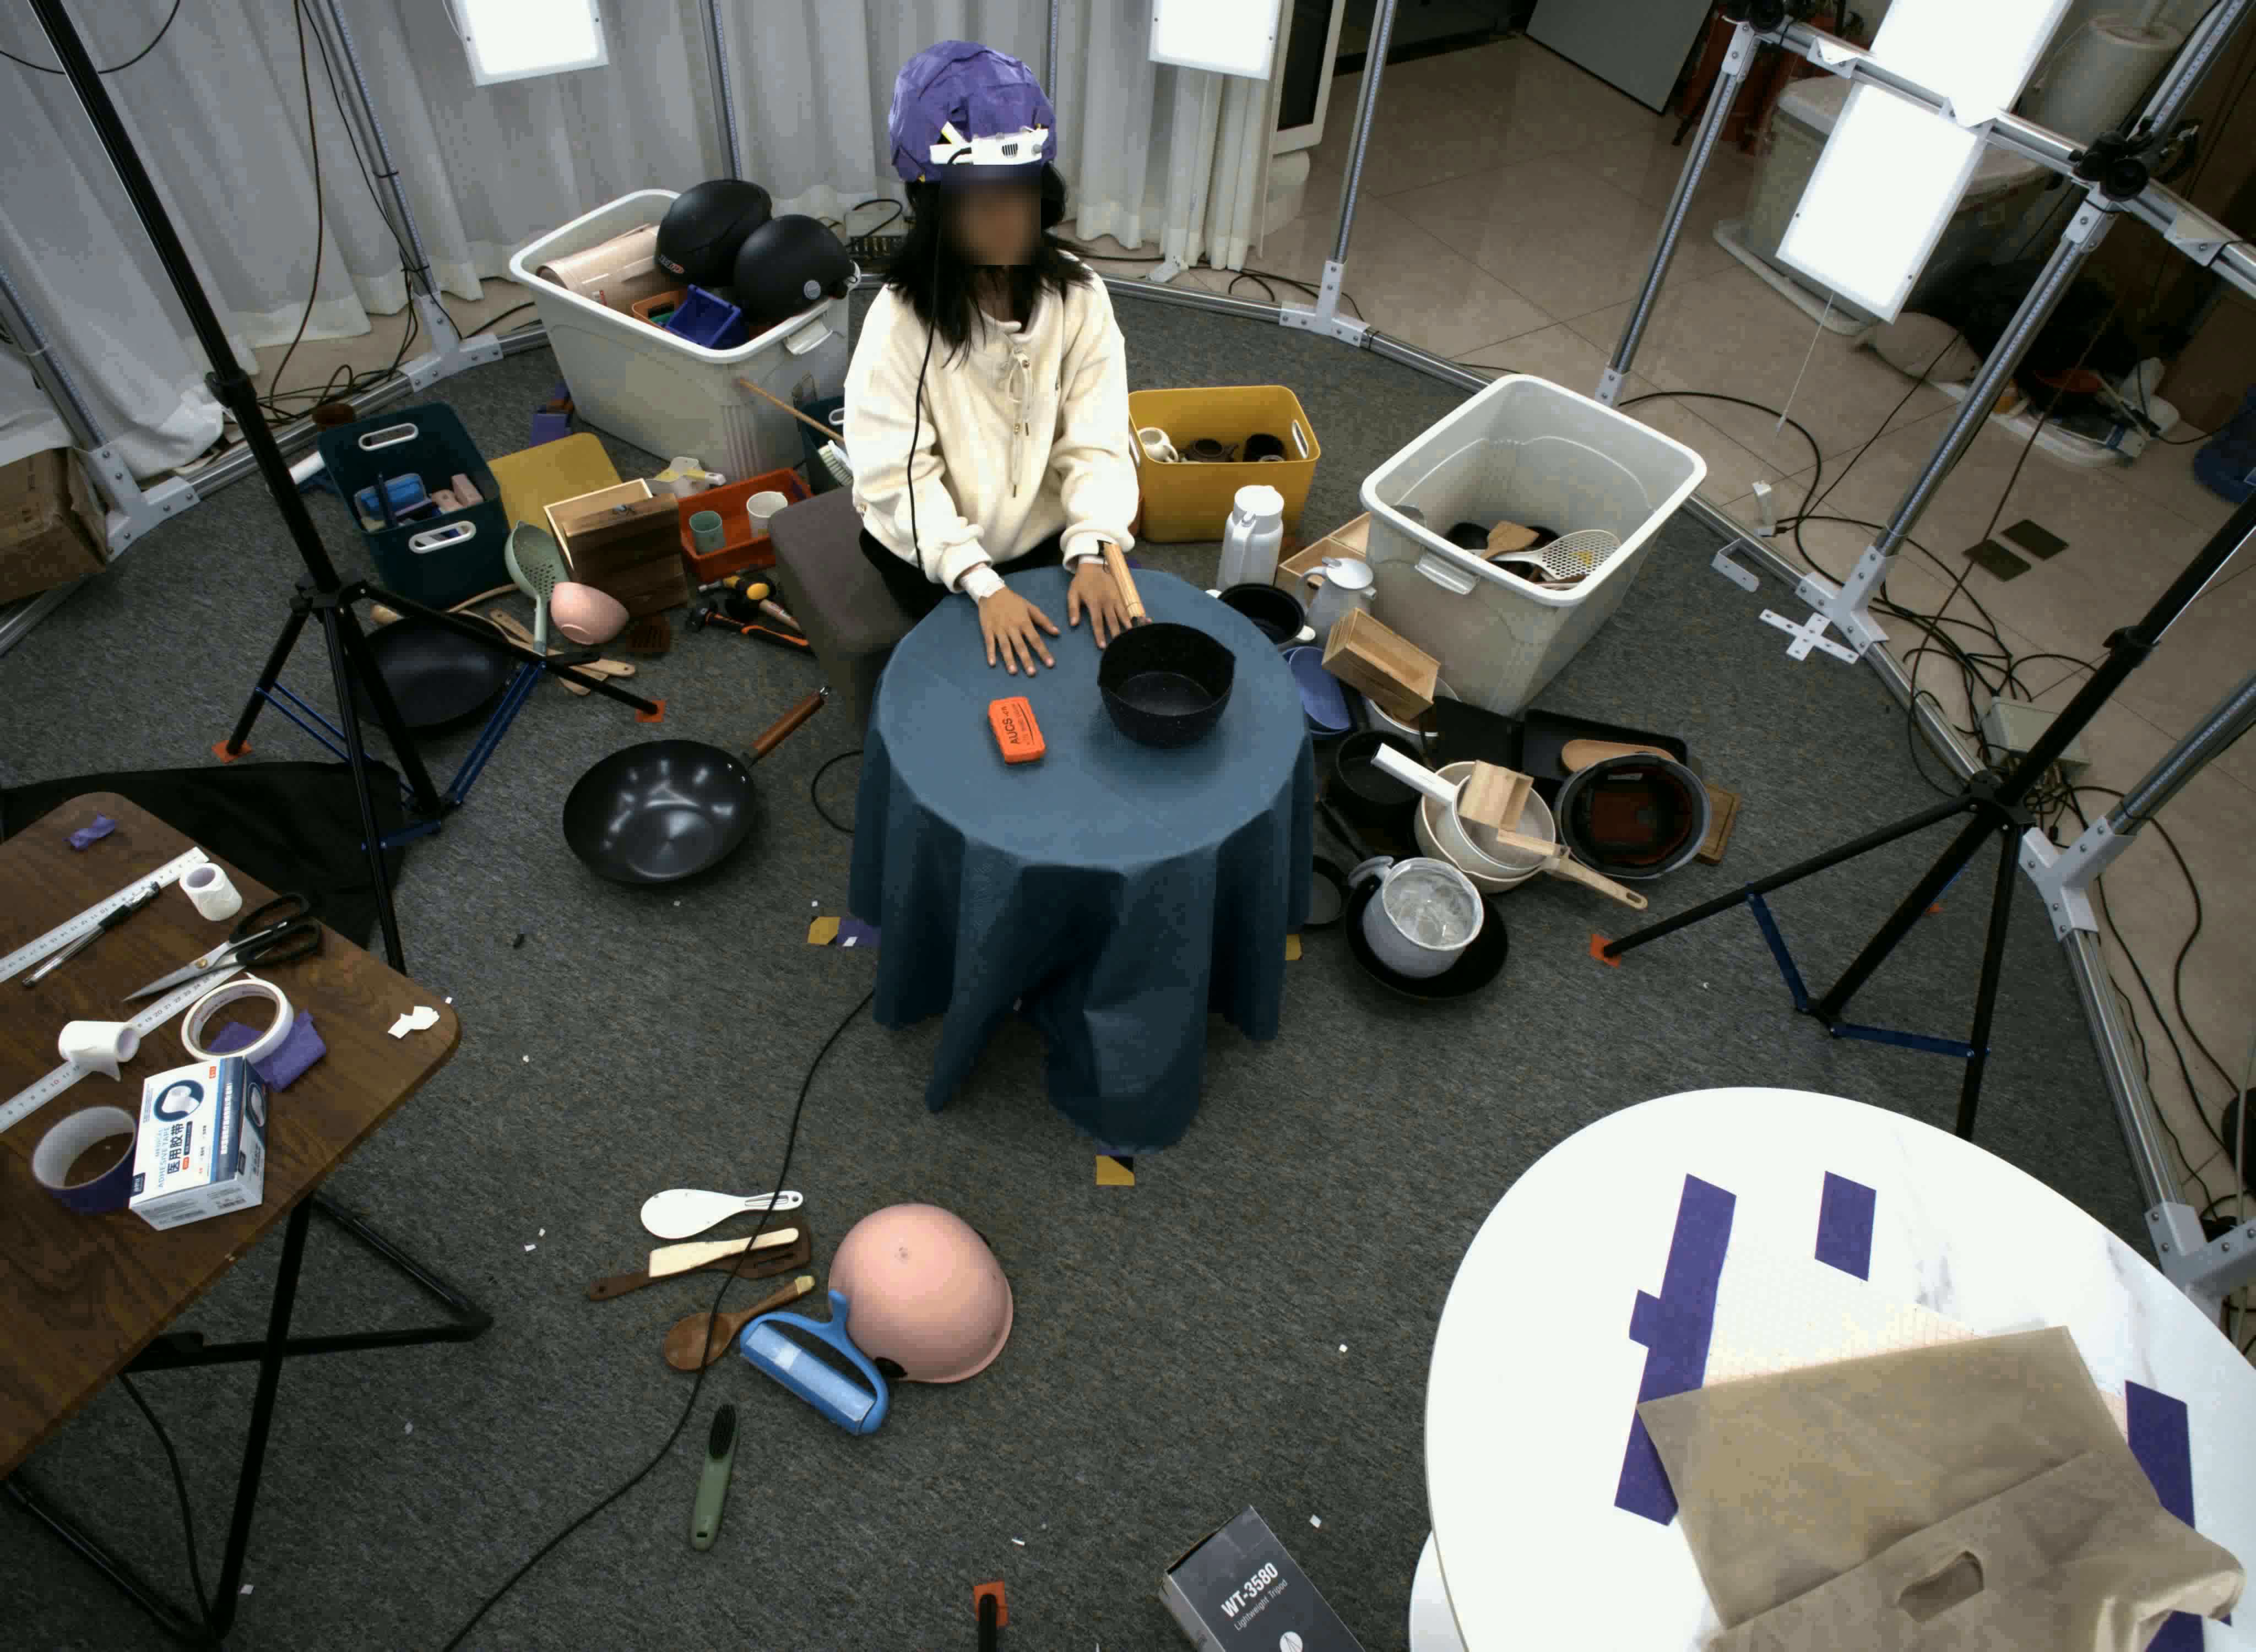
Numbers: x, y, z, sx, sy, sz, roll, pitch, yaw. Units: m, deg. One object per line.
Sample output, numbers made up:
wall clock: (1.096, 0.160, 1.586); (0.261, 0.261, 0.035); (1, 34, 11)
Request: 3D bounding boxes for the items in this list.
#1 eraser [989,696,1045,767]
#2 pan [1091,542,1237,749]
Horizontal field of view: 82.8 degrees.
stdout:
eraser: (-0.153, -0.131, 1.757); (0.059, 0.022, 0.110); (-11, 51, -13)
pan: (0.025, -0.257, 1.825); (0.207, 0.105, 0.351); (-14, 53, -14)
